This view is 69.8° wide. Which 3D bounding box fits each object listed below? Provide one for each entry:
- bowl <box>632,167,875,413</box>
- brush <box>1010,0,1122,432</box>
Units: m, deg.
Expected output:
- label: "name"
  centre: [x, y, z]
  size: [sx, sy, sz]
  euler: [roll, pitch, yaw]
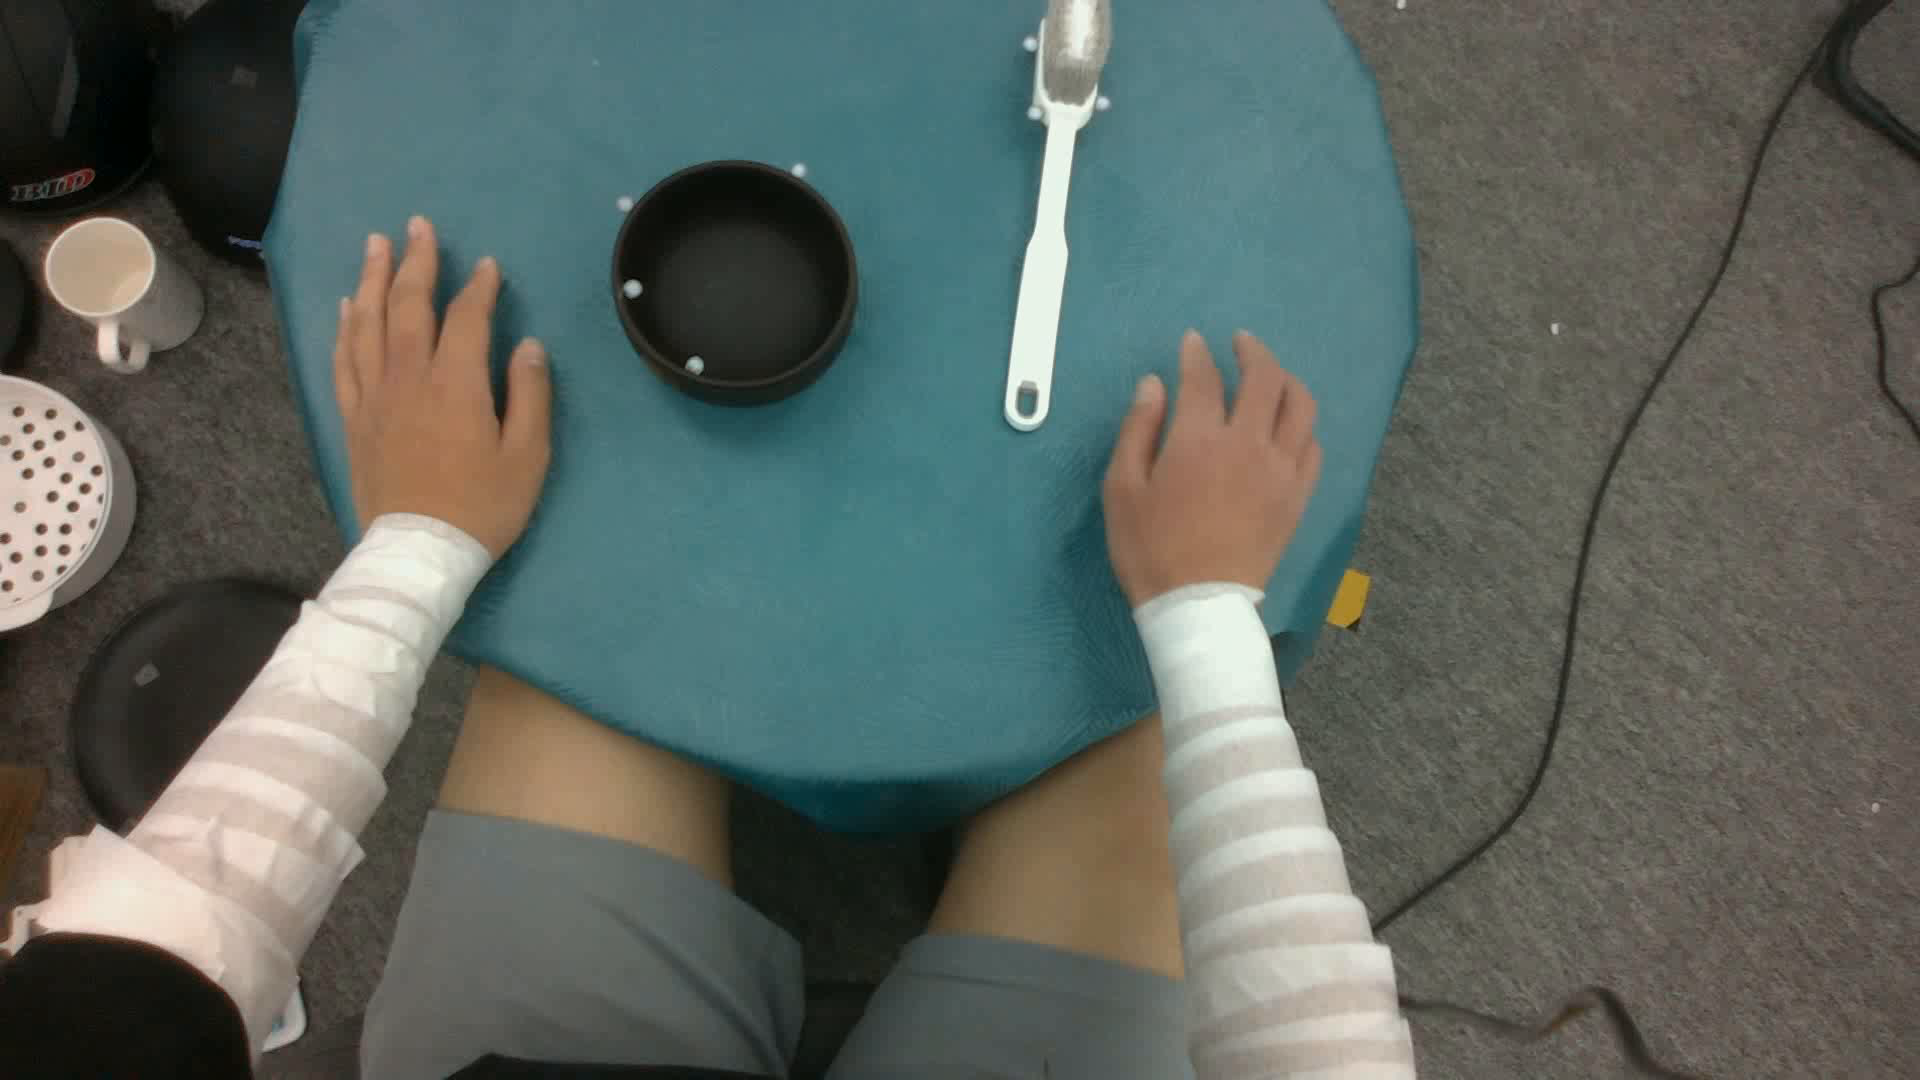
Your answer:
- label: "bowl"
  centre: [-0.103, -0.120, 0.693]
  size: [0.118, 0.069, 0.118]
  euler: [1, 81, -7]
- label: "brush"
  centre: [0.055, -0.179, 0.733]
  size: [0.034, 0.050, 0.244]
  euler: [9, 77, -3]
